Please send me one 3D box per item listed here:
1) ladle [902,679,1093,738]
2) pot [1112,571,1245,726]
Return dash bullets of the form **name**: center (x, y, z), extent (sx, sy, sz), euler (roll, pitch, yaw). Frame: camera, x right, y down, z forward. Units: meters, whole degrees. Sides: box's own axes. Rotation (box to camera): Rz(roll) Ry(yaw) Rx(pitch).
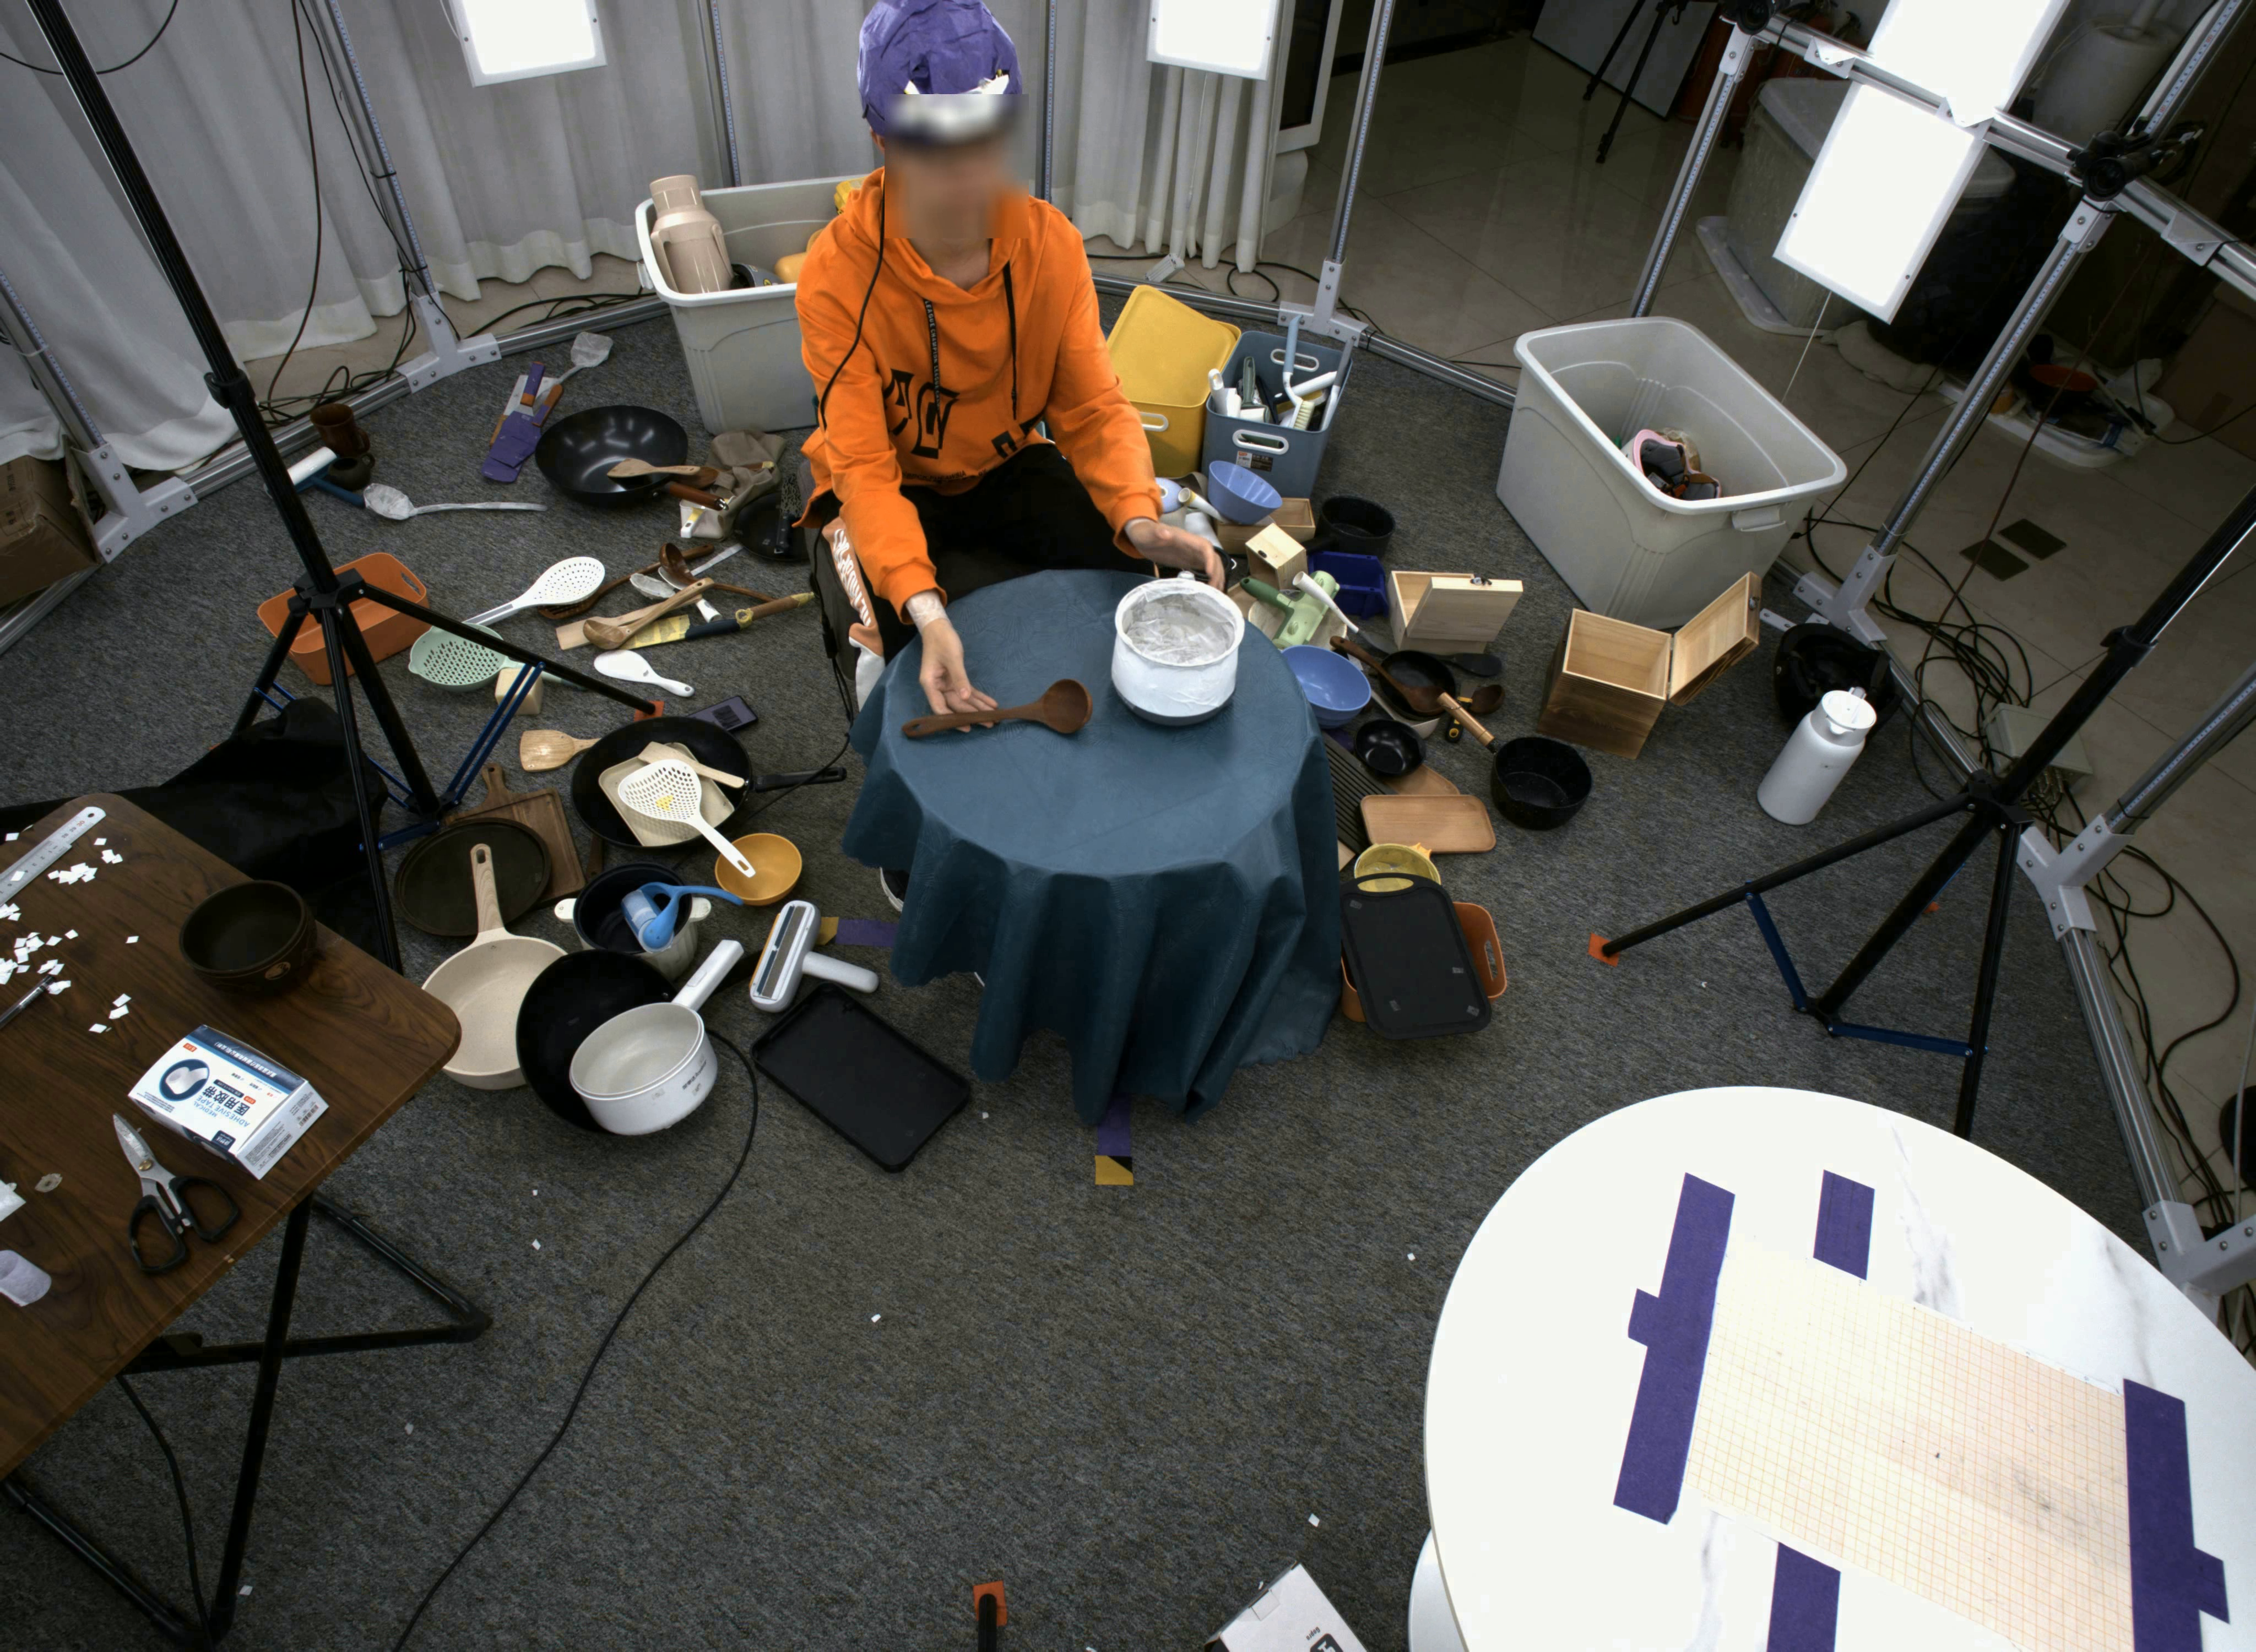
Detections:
- **ladle**: center (-0.177, -0.152, 1.750), extent (0.260, 0.064, 0.077), euler (-7, 78, -11)
- **pot**: center (0.069, -0.260, 1.810), extent (0.178, 0.133, 0.239), euler (7, 49, 1)
